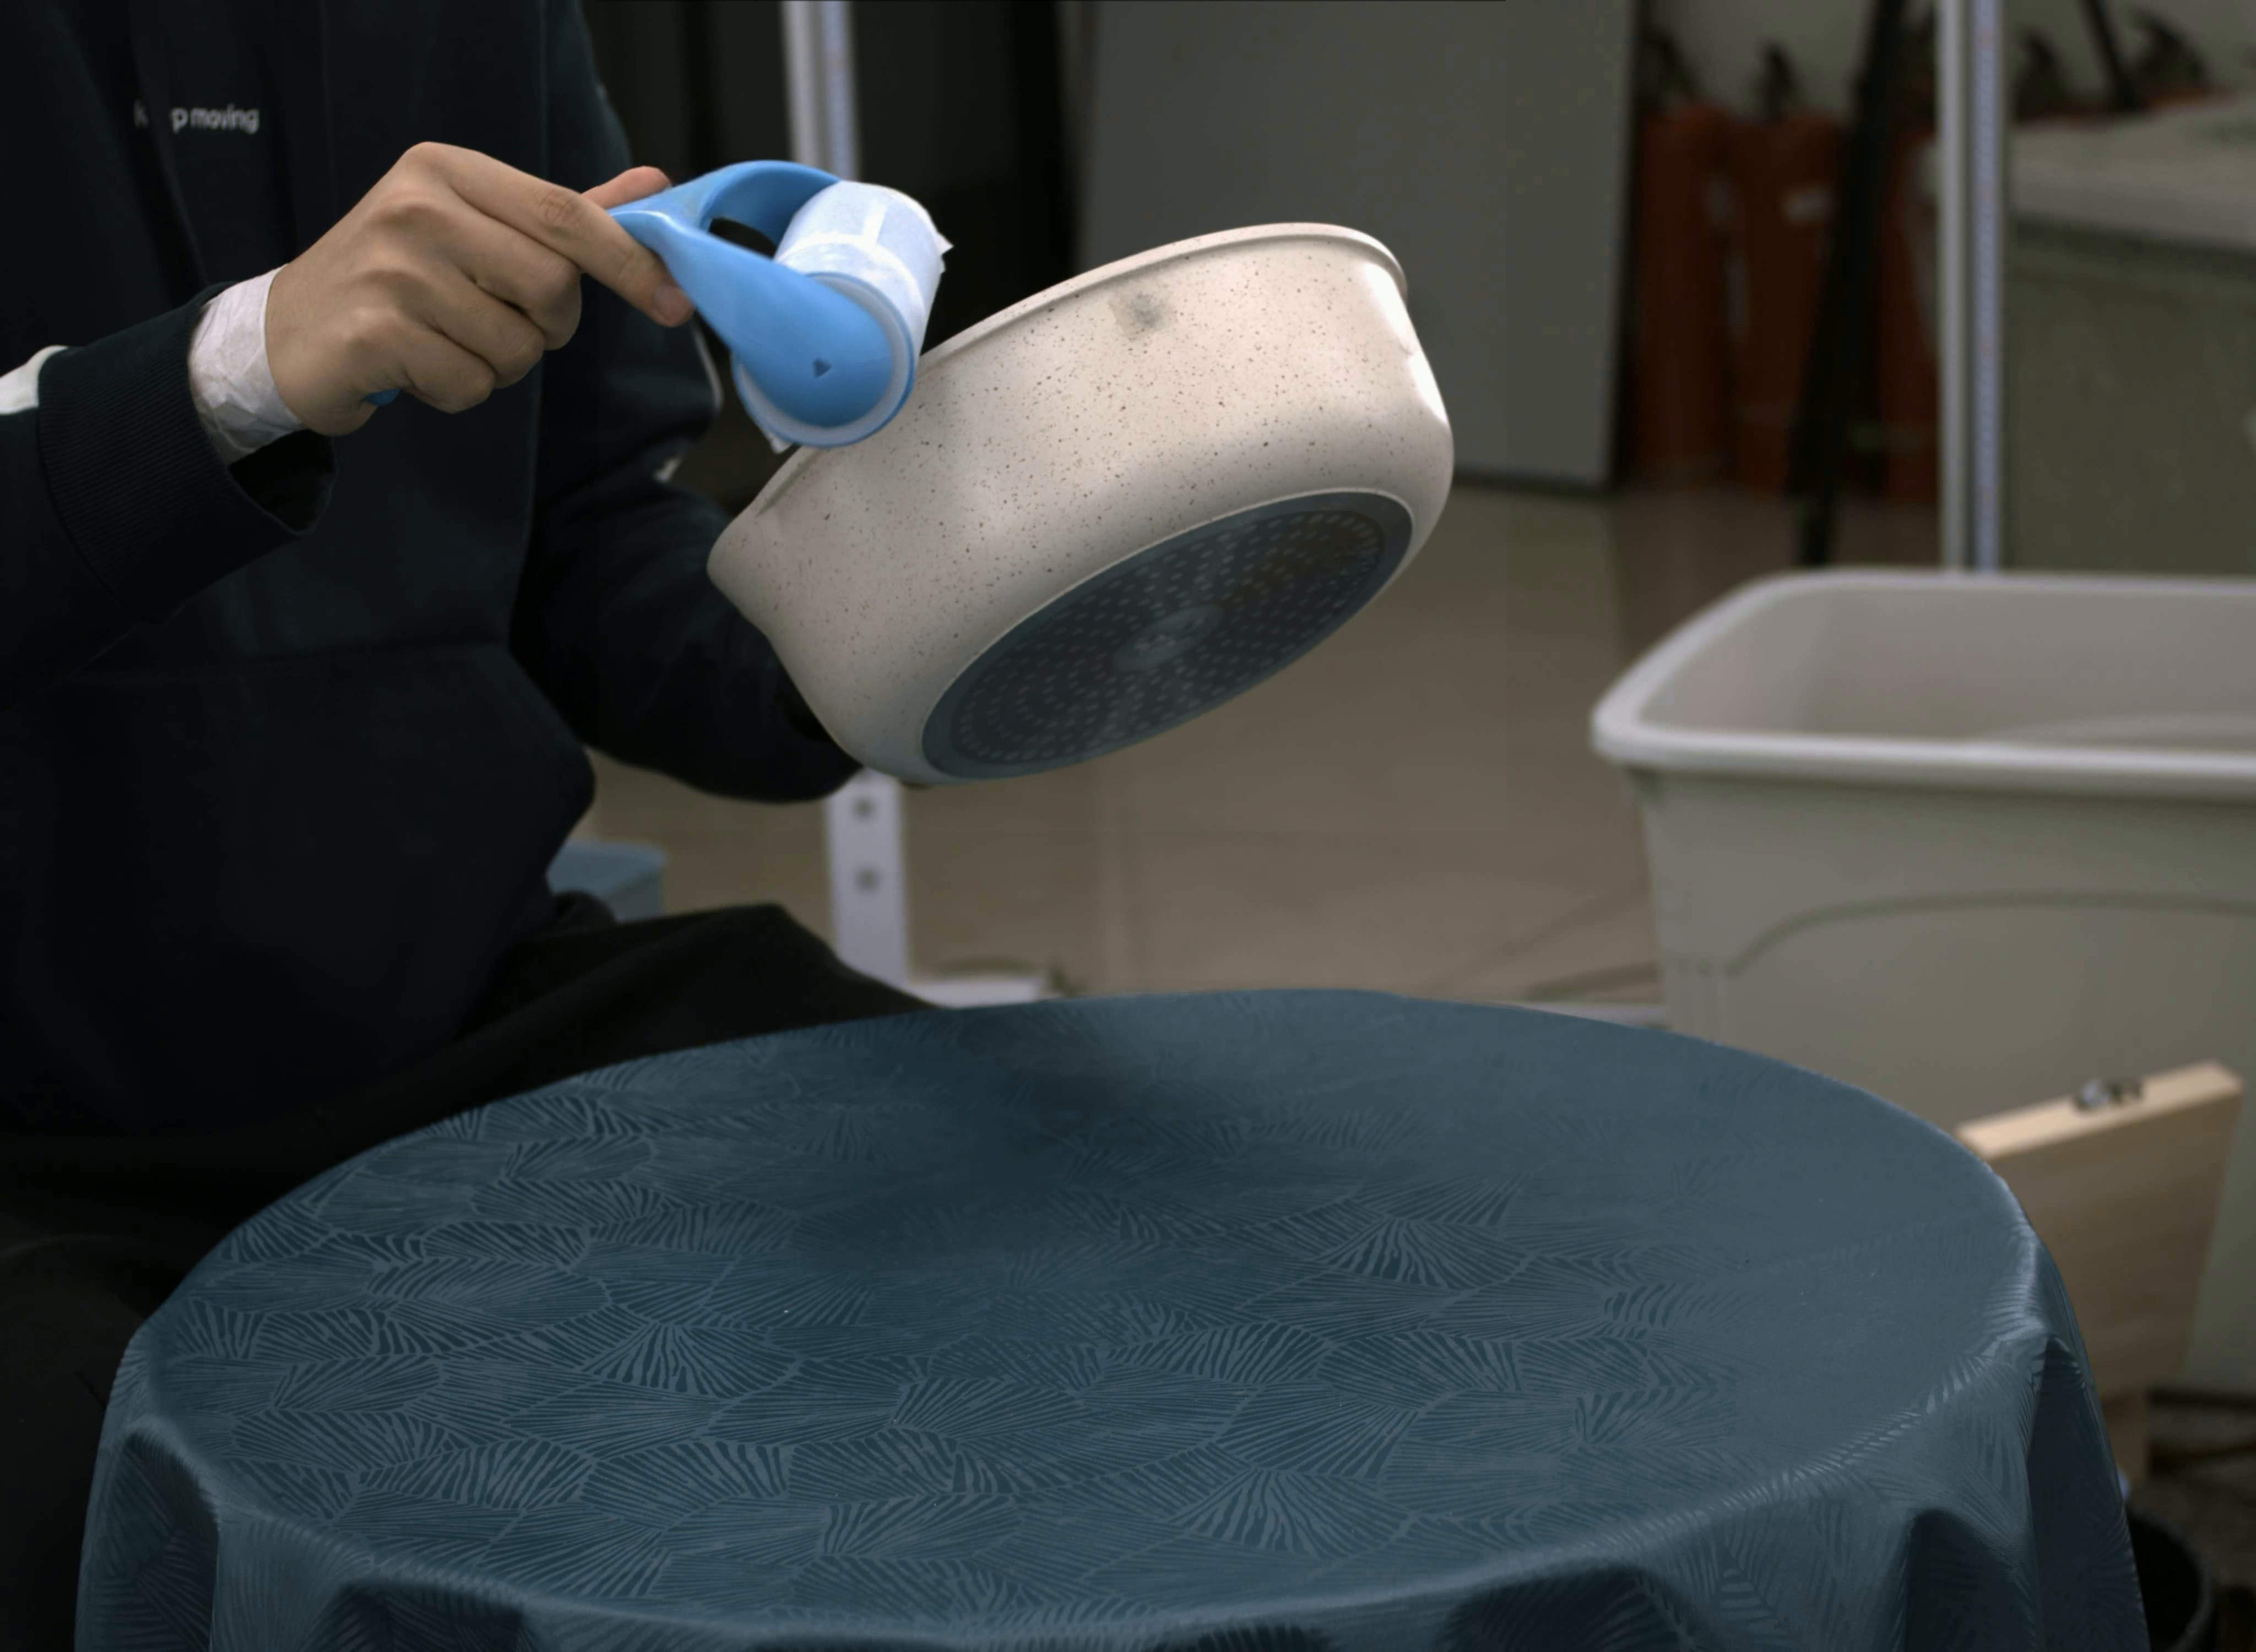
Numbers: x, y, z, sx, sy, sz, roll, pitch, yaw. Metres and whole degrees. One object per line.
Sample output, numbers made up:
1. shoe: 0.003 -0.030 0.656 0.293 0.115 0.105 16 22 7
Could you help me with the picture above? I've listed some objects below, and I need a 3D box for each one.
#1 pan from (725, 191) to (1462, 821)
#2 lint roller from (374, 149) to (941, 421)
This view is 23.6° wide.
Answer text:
1. pan: -0.020 -0.069 1.881 0.259 0.103 0.437 -21 -19 -19
2. lint roller: -0.145 -0.165 1.671 0.178 0.068 0.229 -3 15 -2
